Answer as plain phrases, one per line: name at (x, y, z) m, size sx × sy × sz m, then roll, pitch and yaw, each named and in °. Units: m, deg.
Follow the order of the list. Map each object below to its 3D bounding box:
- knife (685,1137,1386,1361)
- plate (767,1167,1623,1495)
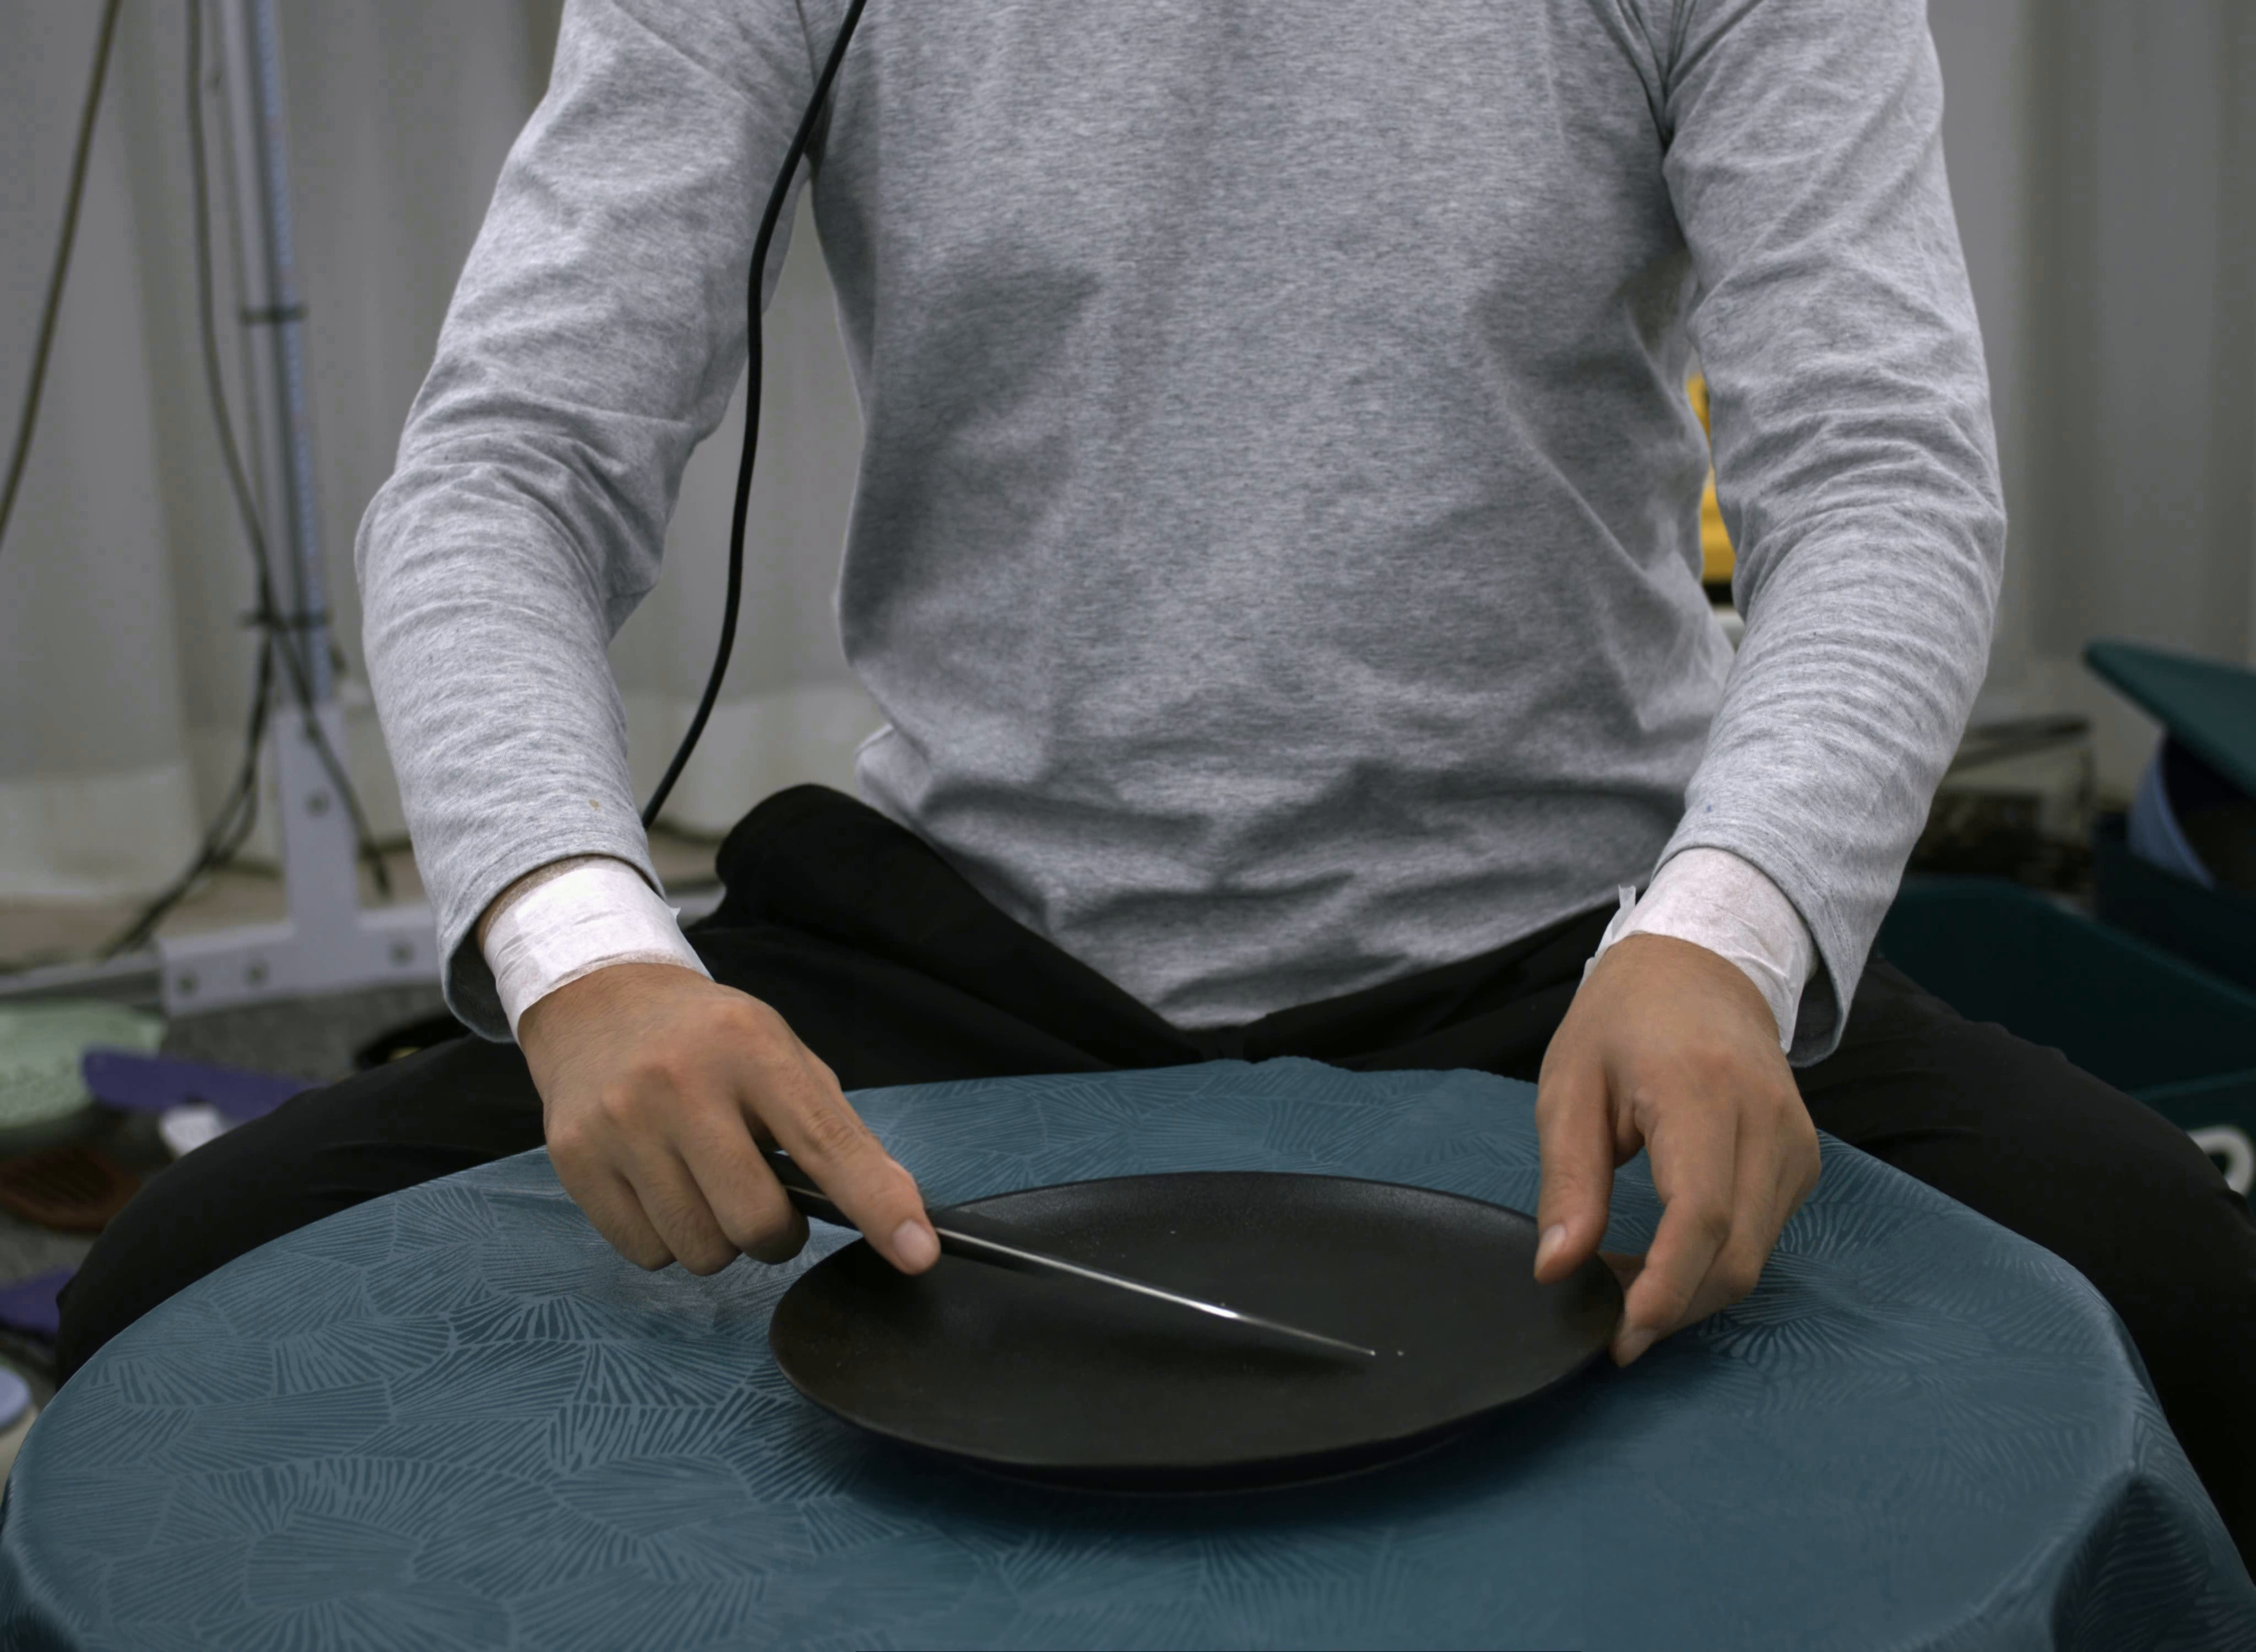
knife at (-0.032, 0.125, 1.589) m, size 0.239 × 0.016 × 0.024 m, roll 14°, pitch 3°, yaw 28°
plate at (0.019, 0.146, 1.551) m, size 0.243 × 0.023 × 0.246 m, roll -3°, pitch 15°, yaw 0°
